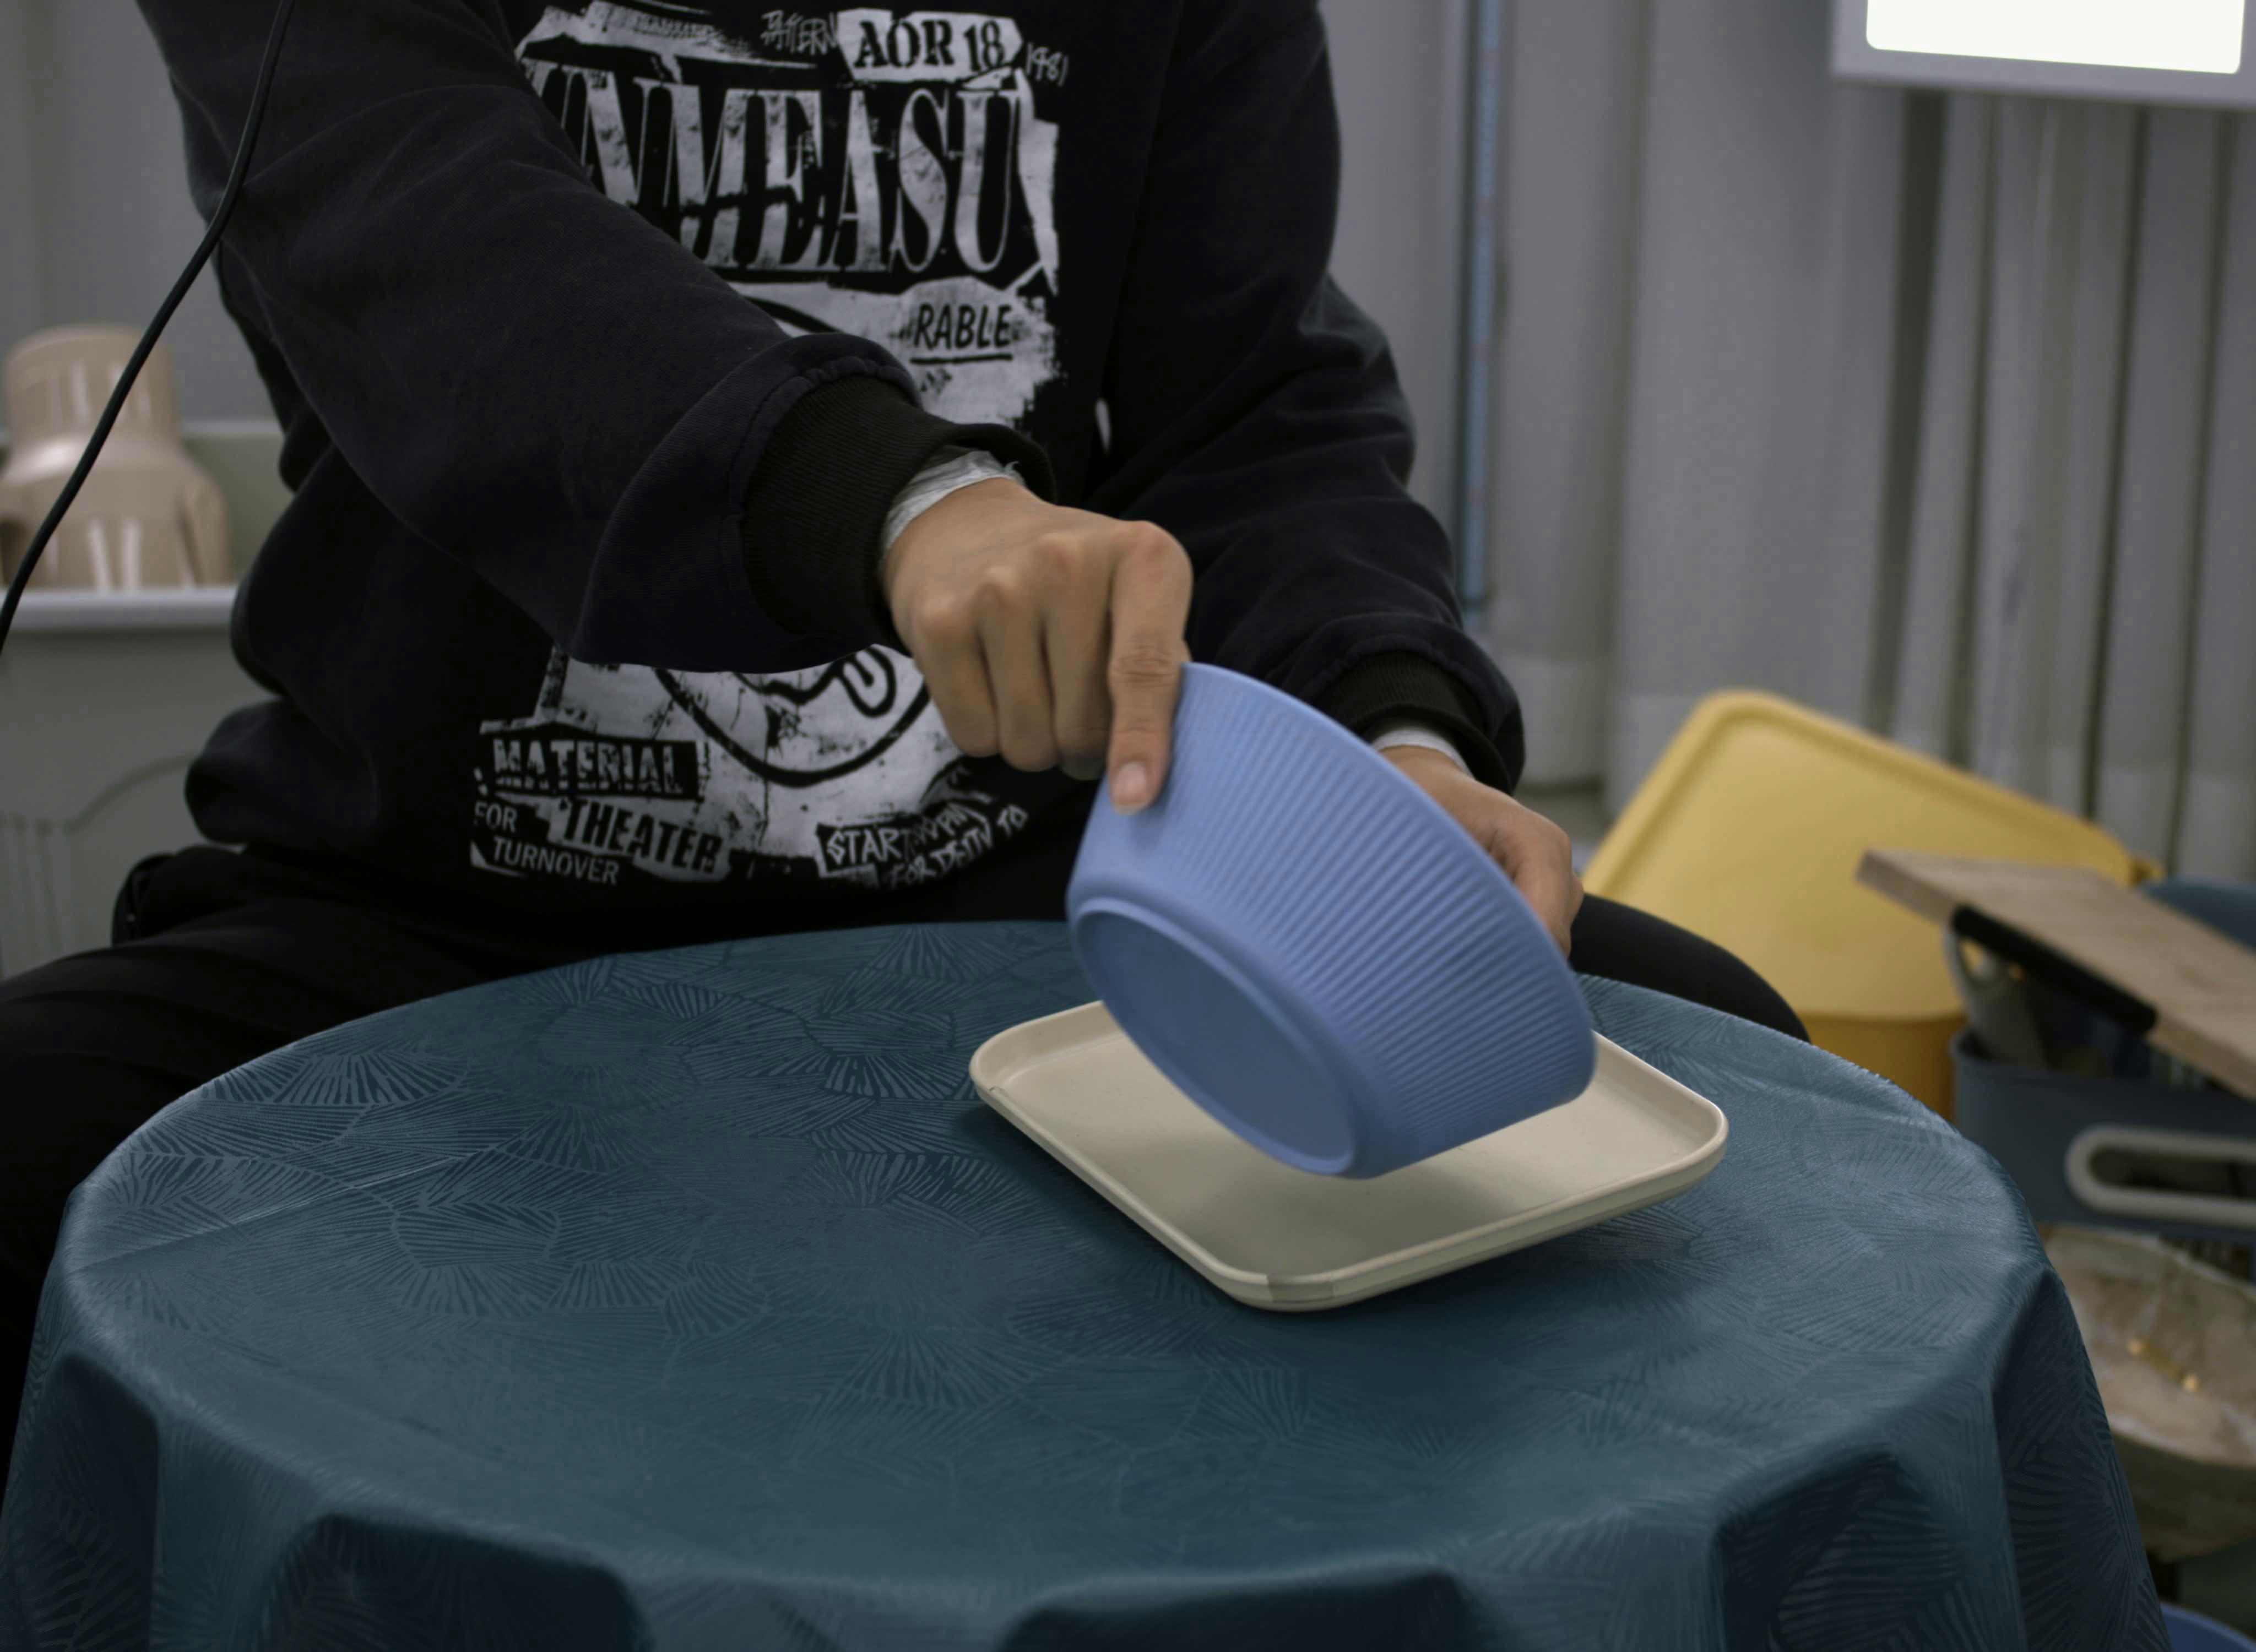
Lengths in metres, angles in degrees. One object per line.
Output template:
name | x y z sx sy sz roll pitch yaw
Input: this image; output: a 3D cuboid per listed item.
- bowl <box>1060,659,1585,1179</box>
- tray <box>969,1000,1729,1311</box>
bowl | 0.044 0.038 1.517 0.070 0.178 0.173 -46 37 -20
tray | 0.065 0.089 1.634 0.171 0.017 0.237 -15 22 -21
